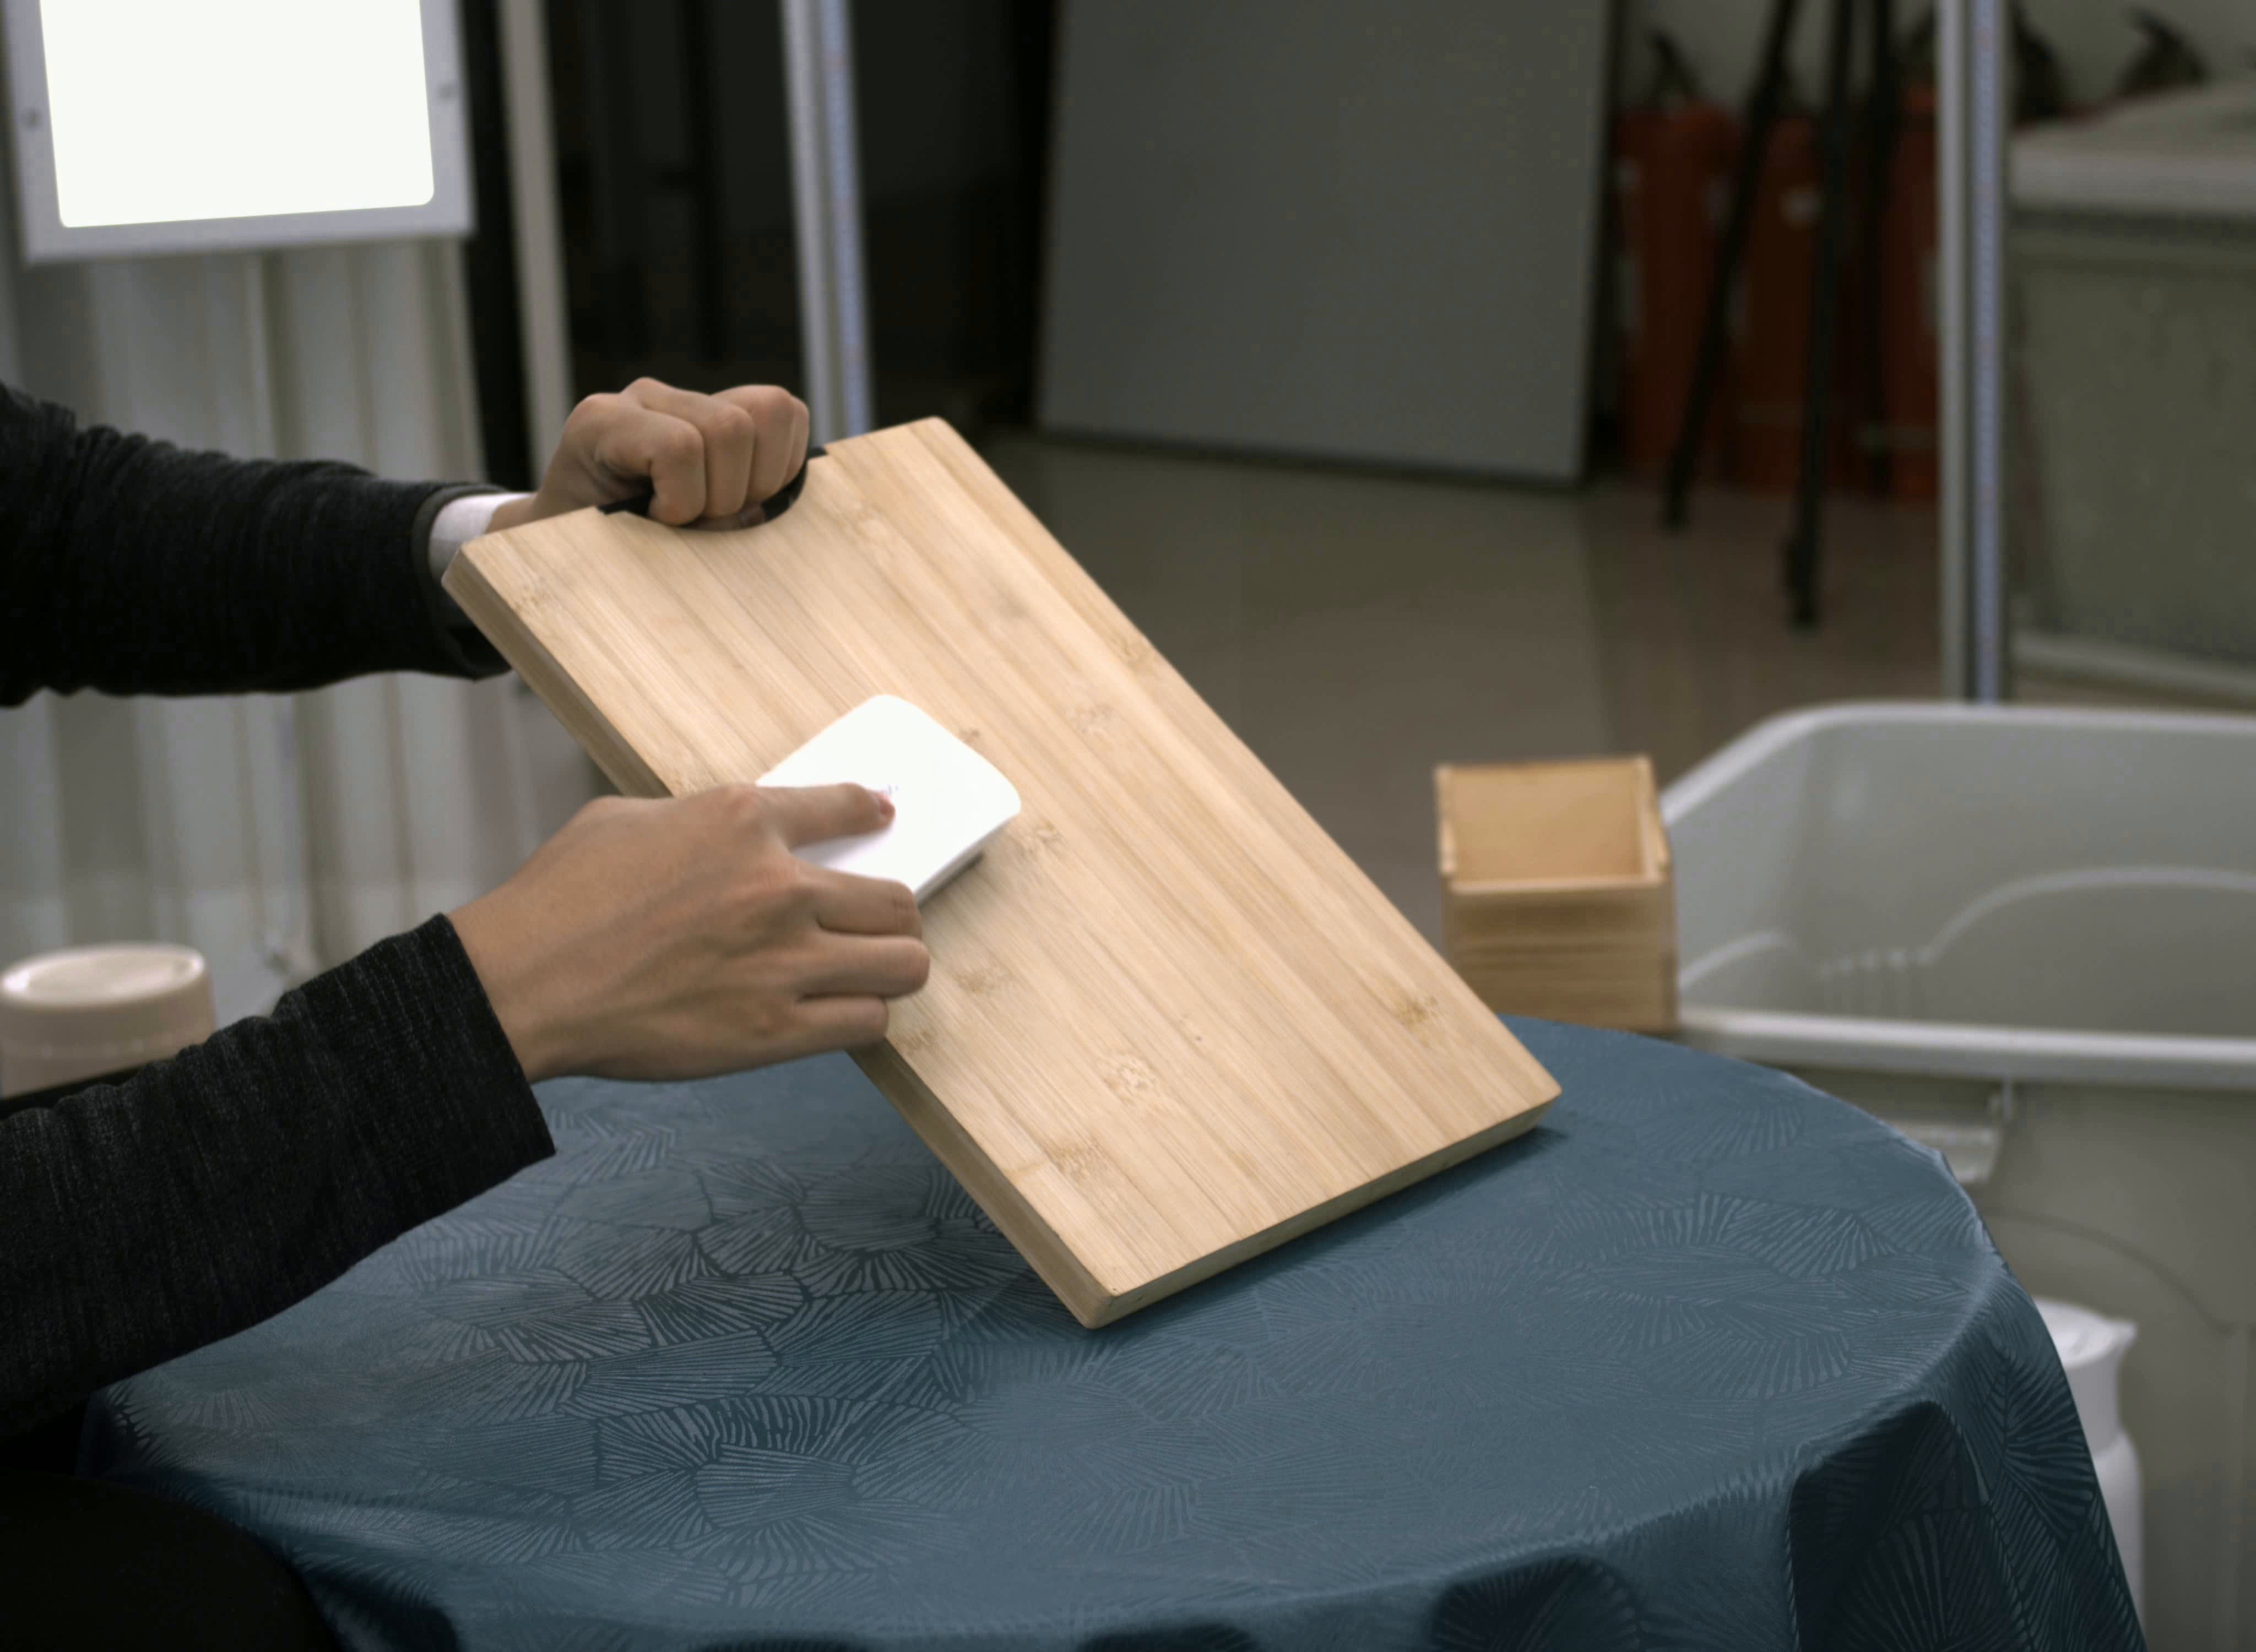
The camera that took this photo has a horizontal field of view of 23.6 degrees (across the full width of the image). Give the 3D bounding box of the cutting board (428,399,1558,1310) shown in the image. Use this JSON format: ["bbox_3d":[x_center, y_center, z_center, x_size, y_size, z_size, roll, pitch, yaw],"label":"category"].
[{"bbox_3d":[-0.043,0.000,1.785,0.246,0.024,0.351,-19,59,-47],"label":"cutting board"}]

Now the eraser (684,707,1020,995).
[{"bbox_3d":[-0.087,0.005,1.704,0.063,0.035,0.129,38,35,11],"label":"eraser"}]
